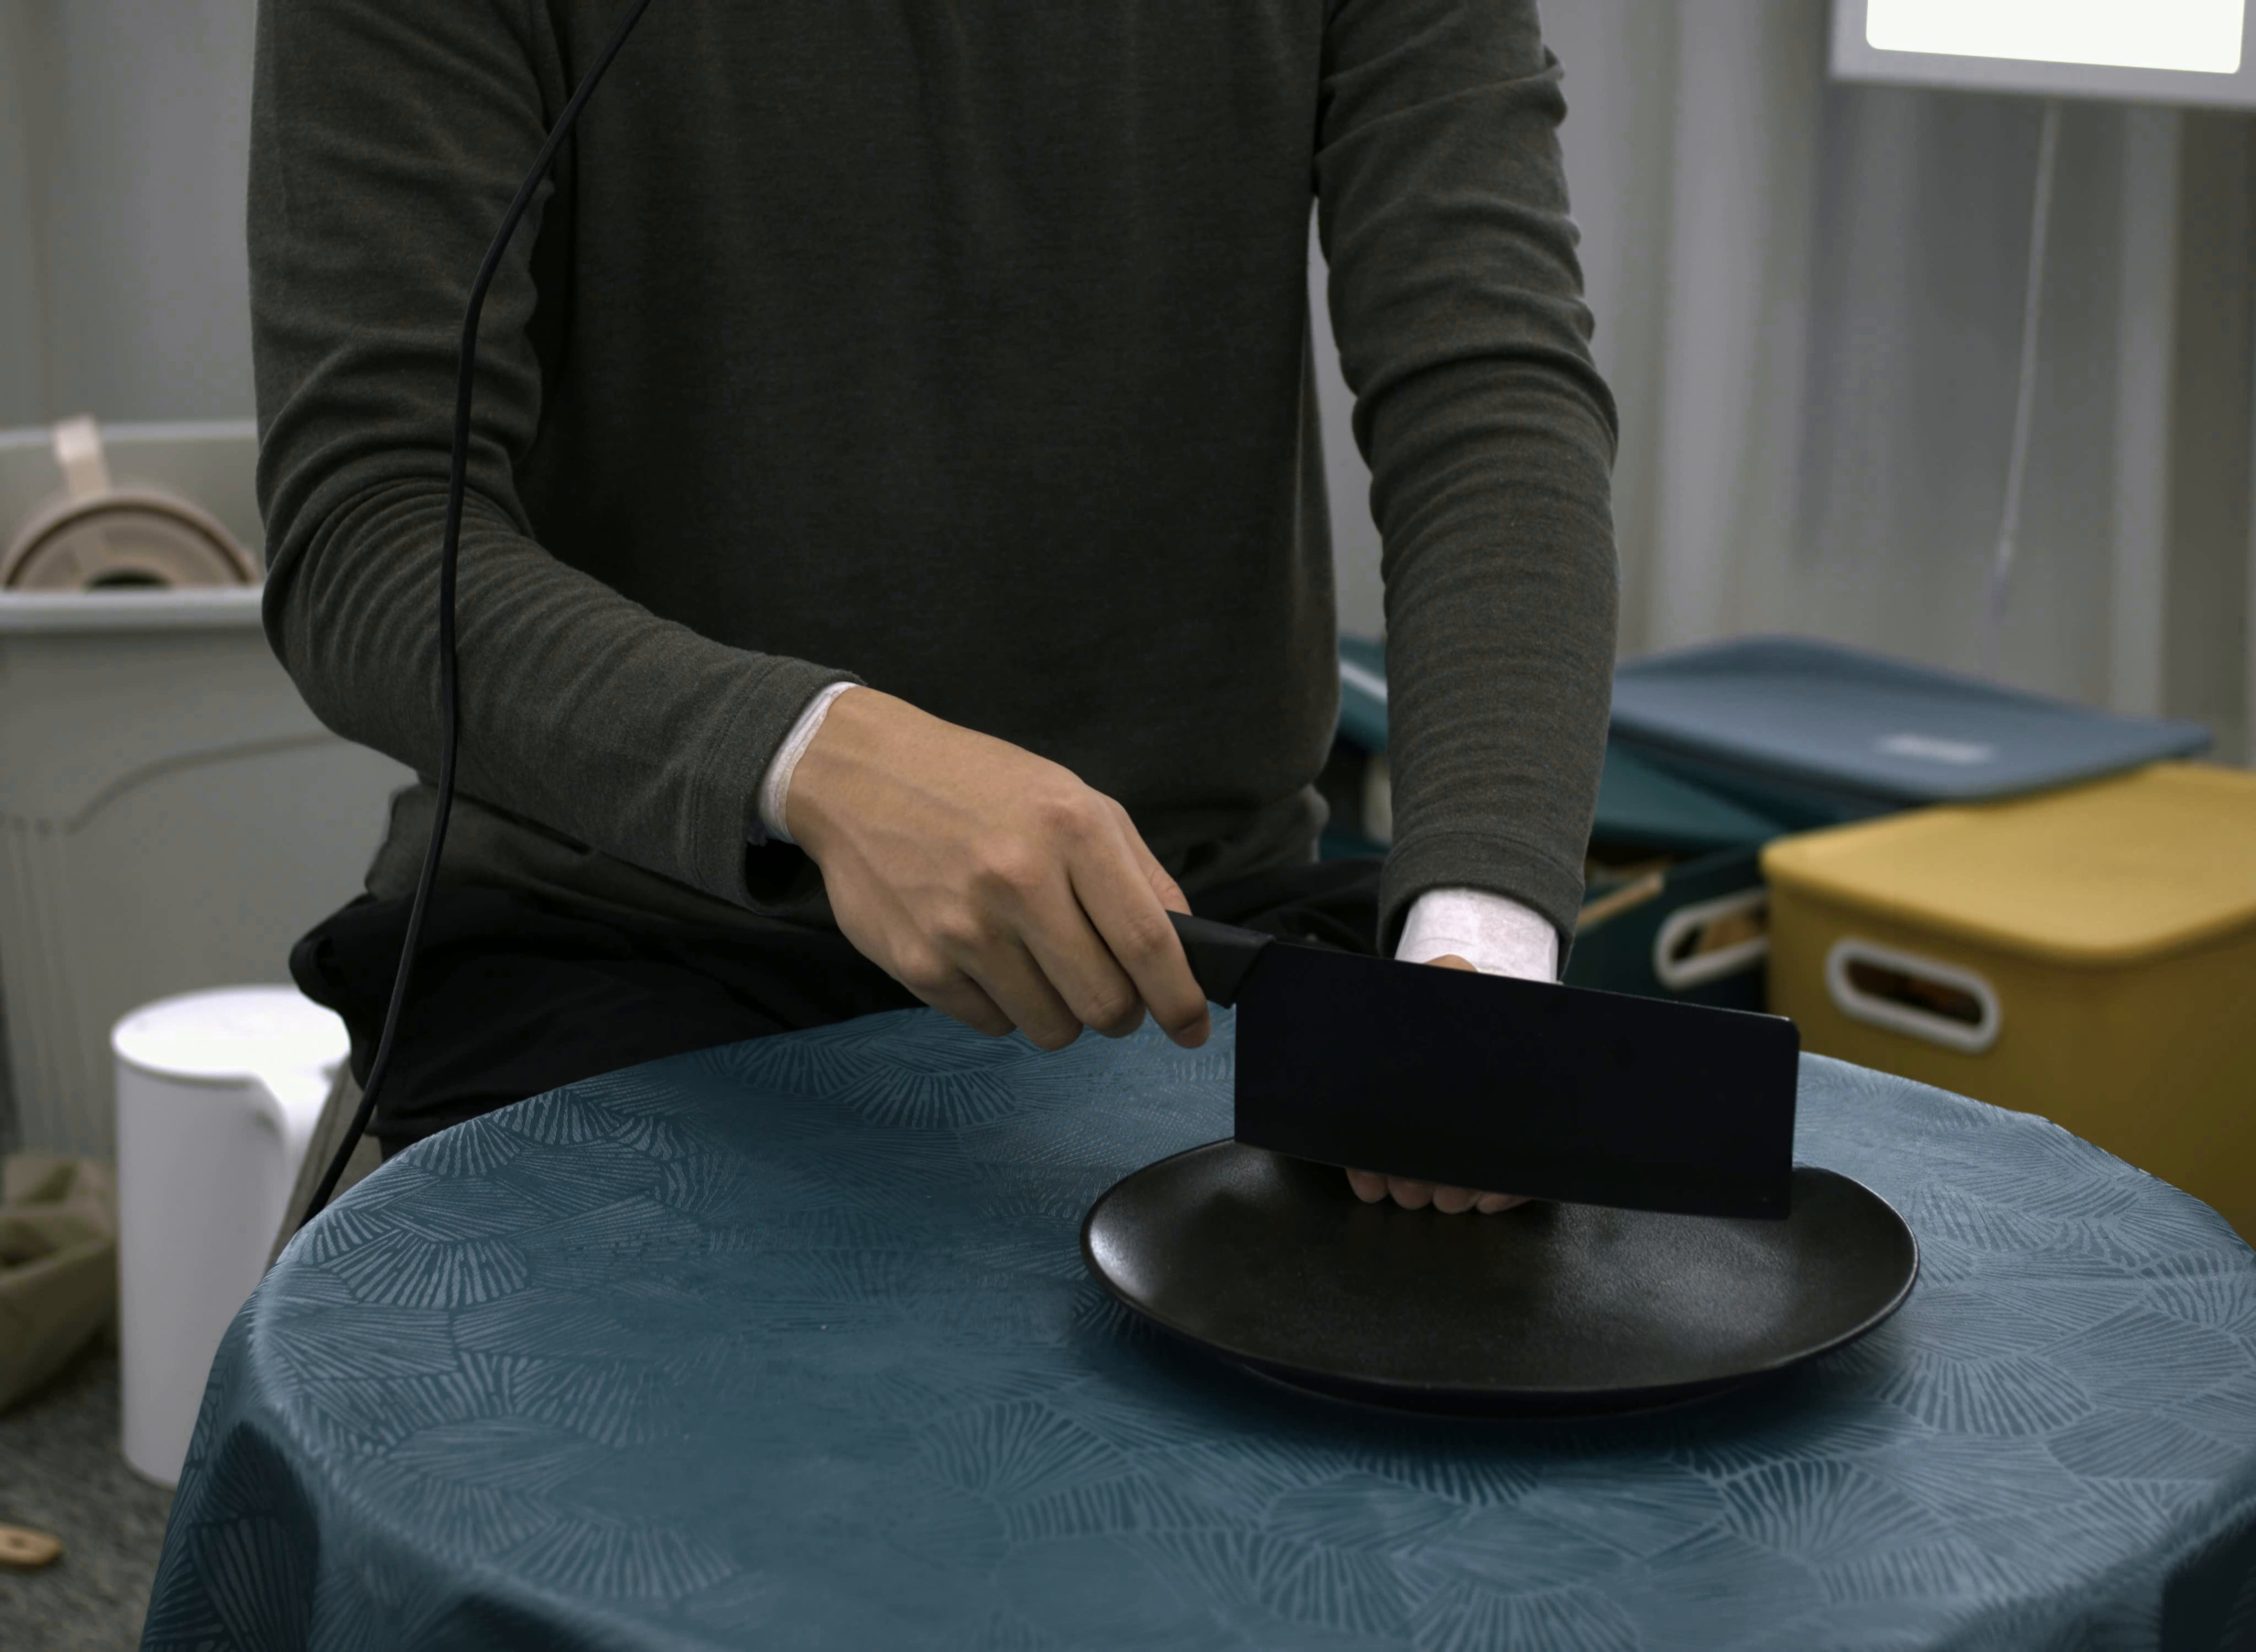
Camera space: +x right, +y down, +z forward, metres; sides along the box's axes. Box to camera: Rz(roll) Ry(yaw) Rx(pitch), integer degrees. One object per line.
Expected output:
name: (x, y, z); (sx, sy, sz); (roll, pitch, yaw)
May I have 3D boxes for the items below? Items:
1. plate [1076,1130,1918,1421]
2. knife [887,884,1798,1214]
plate: (0.106, 0.129, 1.526); (0.243, 0.023, 0.243); (1, 15, 0)
knife: (0.060, 0.063, 1.572); (0.299, 0.081, 0.021); (13, 16, 25)
